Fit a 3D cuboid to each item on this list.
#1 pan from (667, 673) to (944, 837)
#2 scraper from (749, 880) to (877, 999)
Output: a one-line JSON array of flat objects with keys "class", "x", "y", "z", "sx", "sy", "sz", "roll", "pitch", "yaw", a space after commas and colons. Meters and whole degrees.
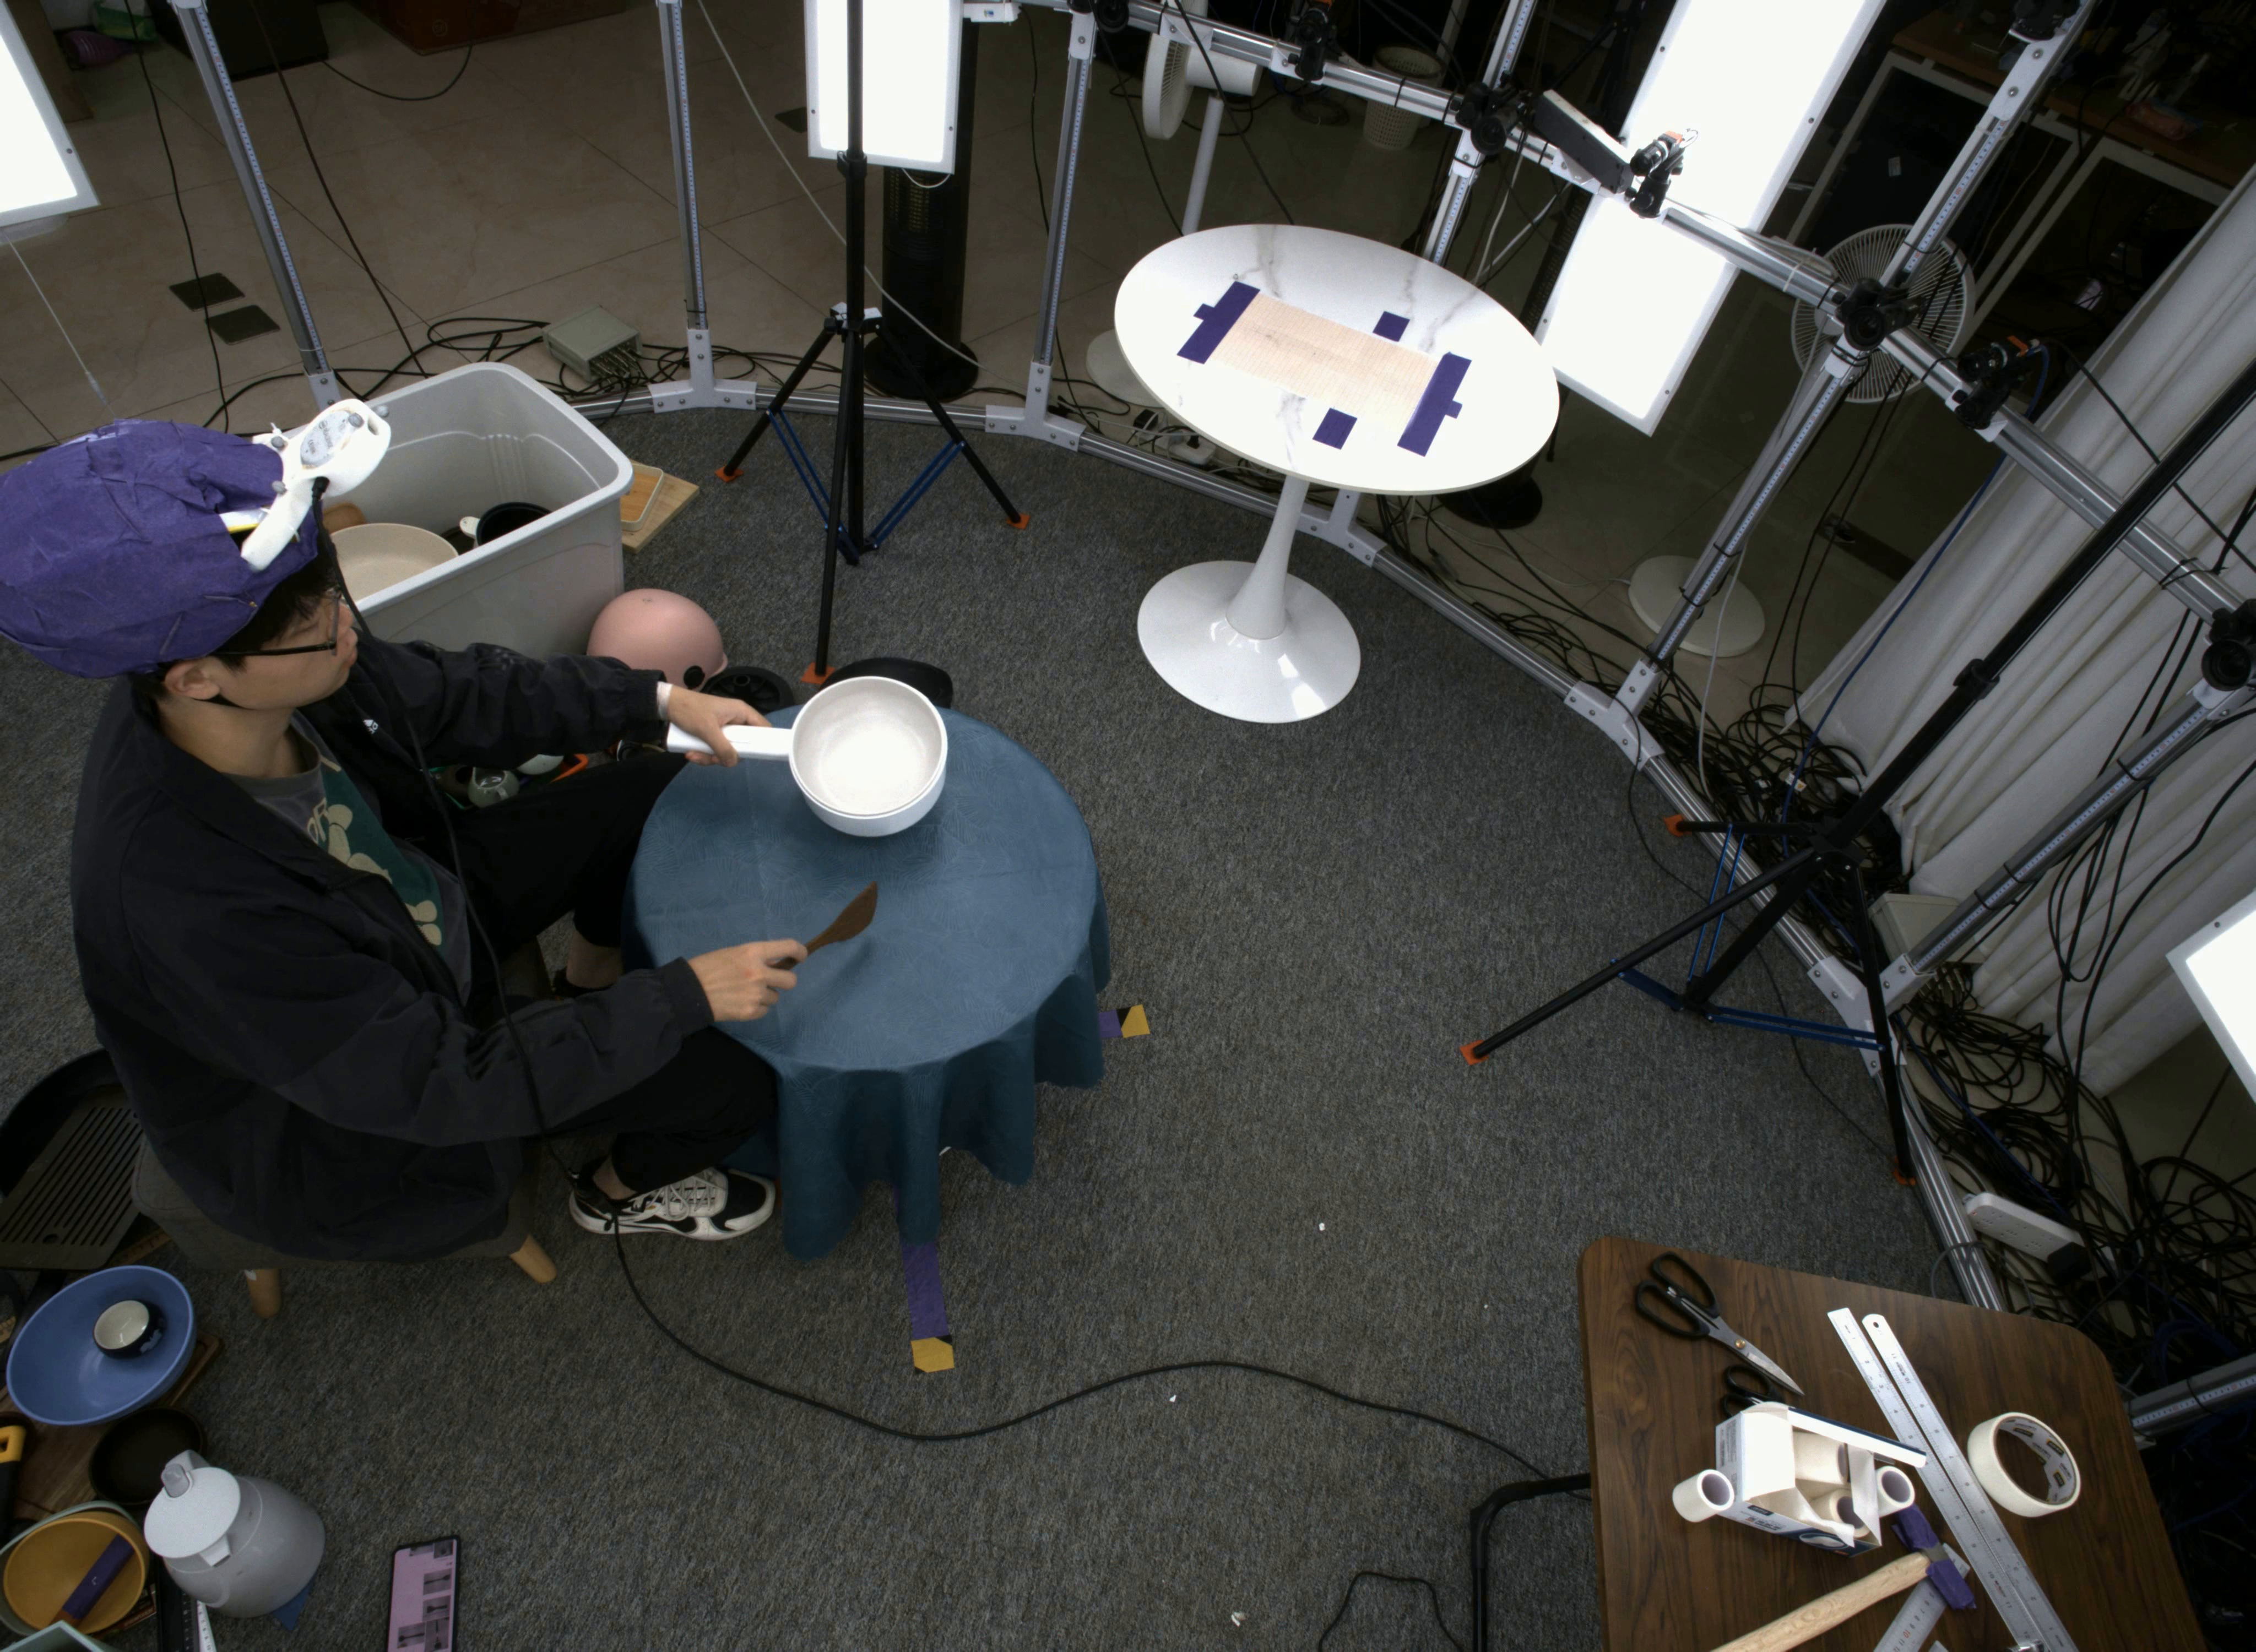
[{"class": "pan", "x": -0.415, "y": -0.092, "z": 1.694, "sx": 0.352, "sy": 0.103, "sz": 0.200, "roll": 3, "pitch": 71, "yaw": -5}, {"class": "scraper", "x": -0.370, "y": 0.138, "z": 1.542, "sx": 0.010, "sy": 0.078, "sz": 0.211, "roll": 28, "pitch": 42, "yaw": 23}]
